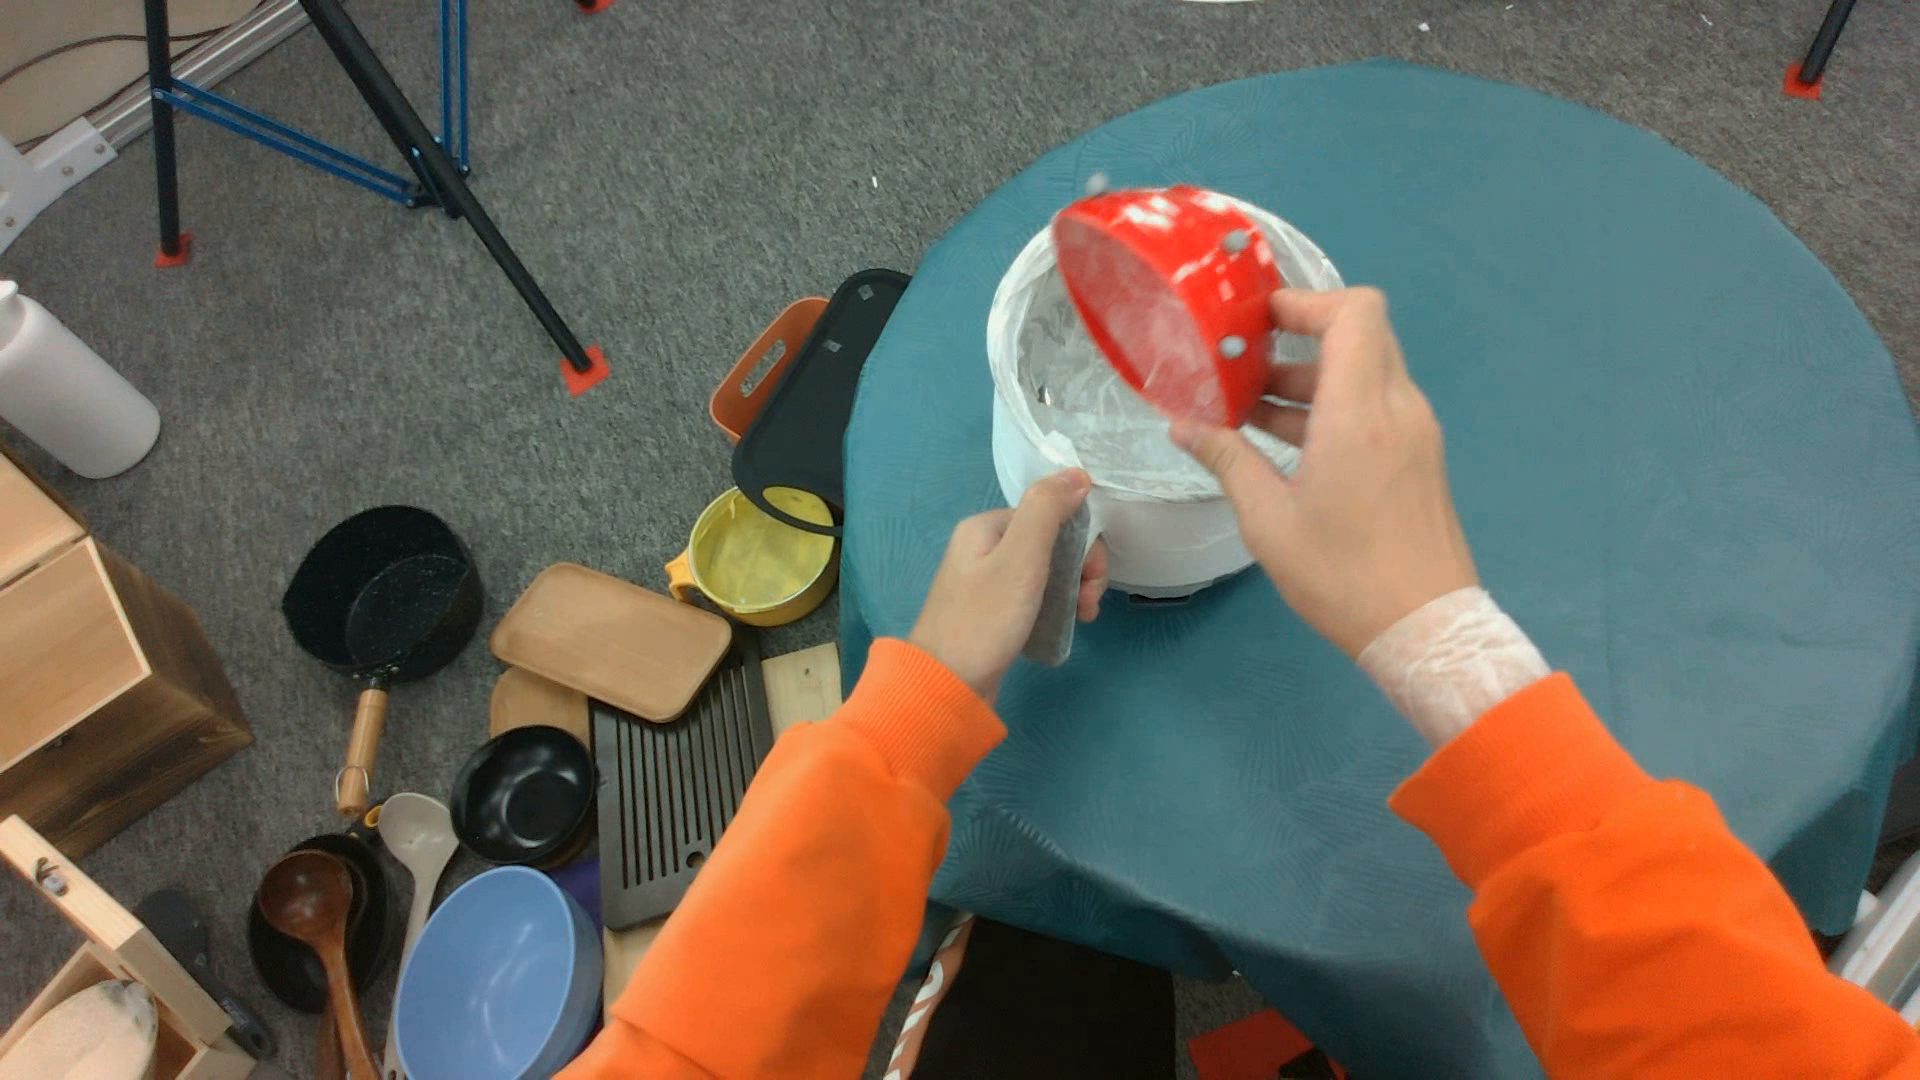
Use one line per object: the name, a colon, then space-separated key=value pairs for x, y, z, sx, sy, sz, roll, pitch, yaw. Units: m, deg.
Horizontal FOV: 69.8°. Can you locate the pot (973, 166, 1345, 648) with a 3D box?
pot: x=0.084 y=-0.059 z=0.703 sx=0.178 sy=0.136 sz=0.234 roll=24 pitch=68 yaw=14

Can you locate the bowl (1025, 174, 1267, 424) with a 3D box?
bowl: x=0.085 y=-0.109 z=0.578 sx=0.051 sy=0.118 sz=0.119 roll=-41 pitch=63 yaw=-9
